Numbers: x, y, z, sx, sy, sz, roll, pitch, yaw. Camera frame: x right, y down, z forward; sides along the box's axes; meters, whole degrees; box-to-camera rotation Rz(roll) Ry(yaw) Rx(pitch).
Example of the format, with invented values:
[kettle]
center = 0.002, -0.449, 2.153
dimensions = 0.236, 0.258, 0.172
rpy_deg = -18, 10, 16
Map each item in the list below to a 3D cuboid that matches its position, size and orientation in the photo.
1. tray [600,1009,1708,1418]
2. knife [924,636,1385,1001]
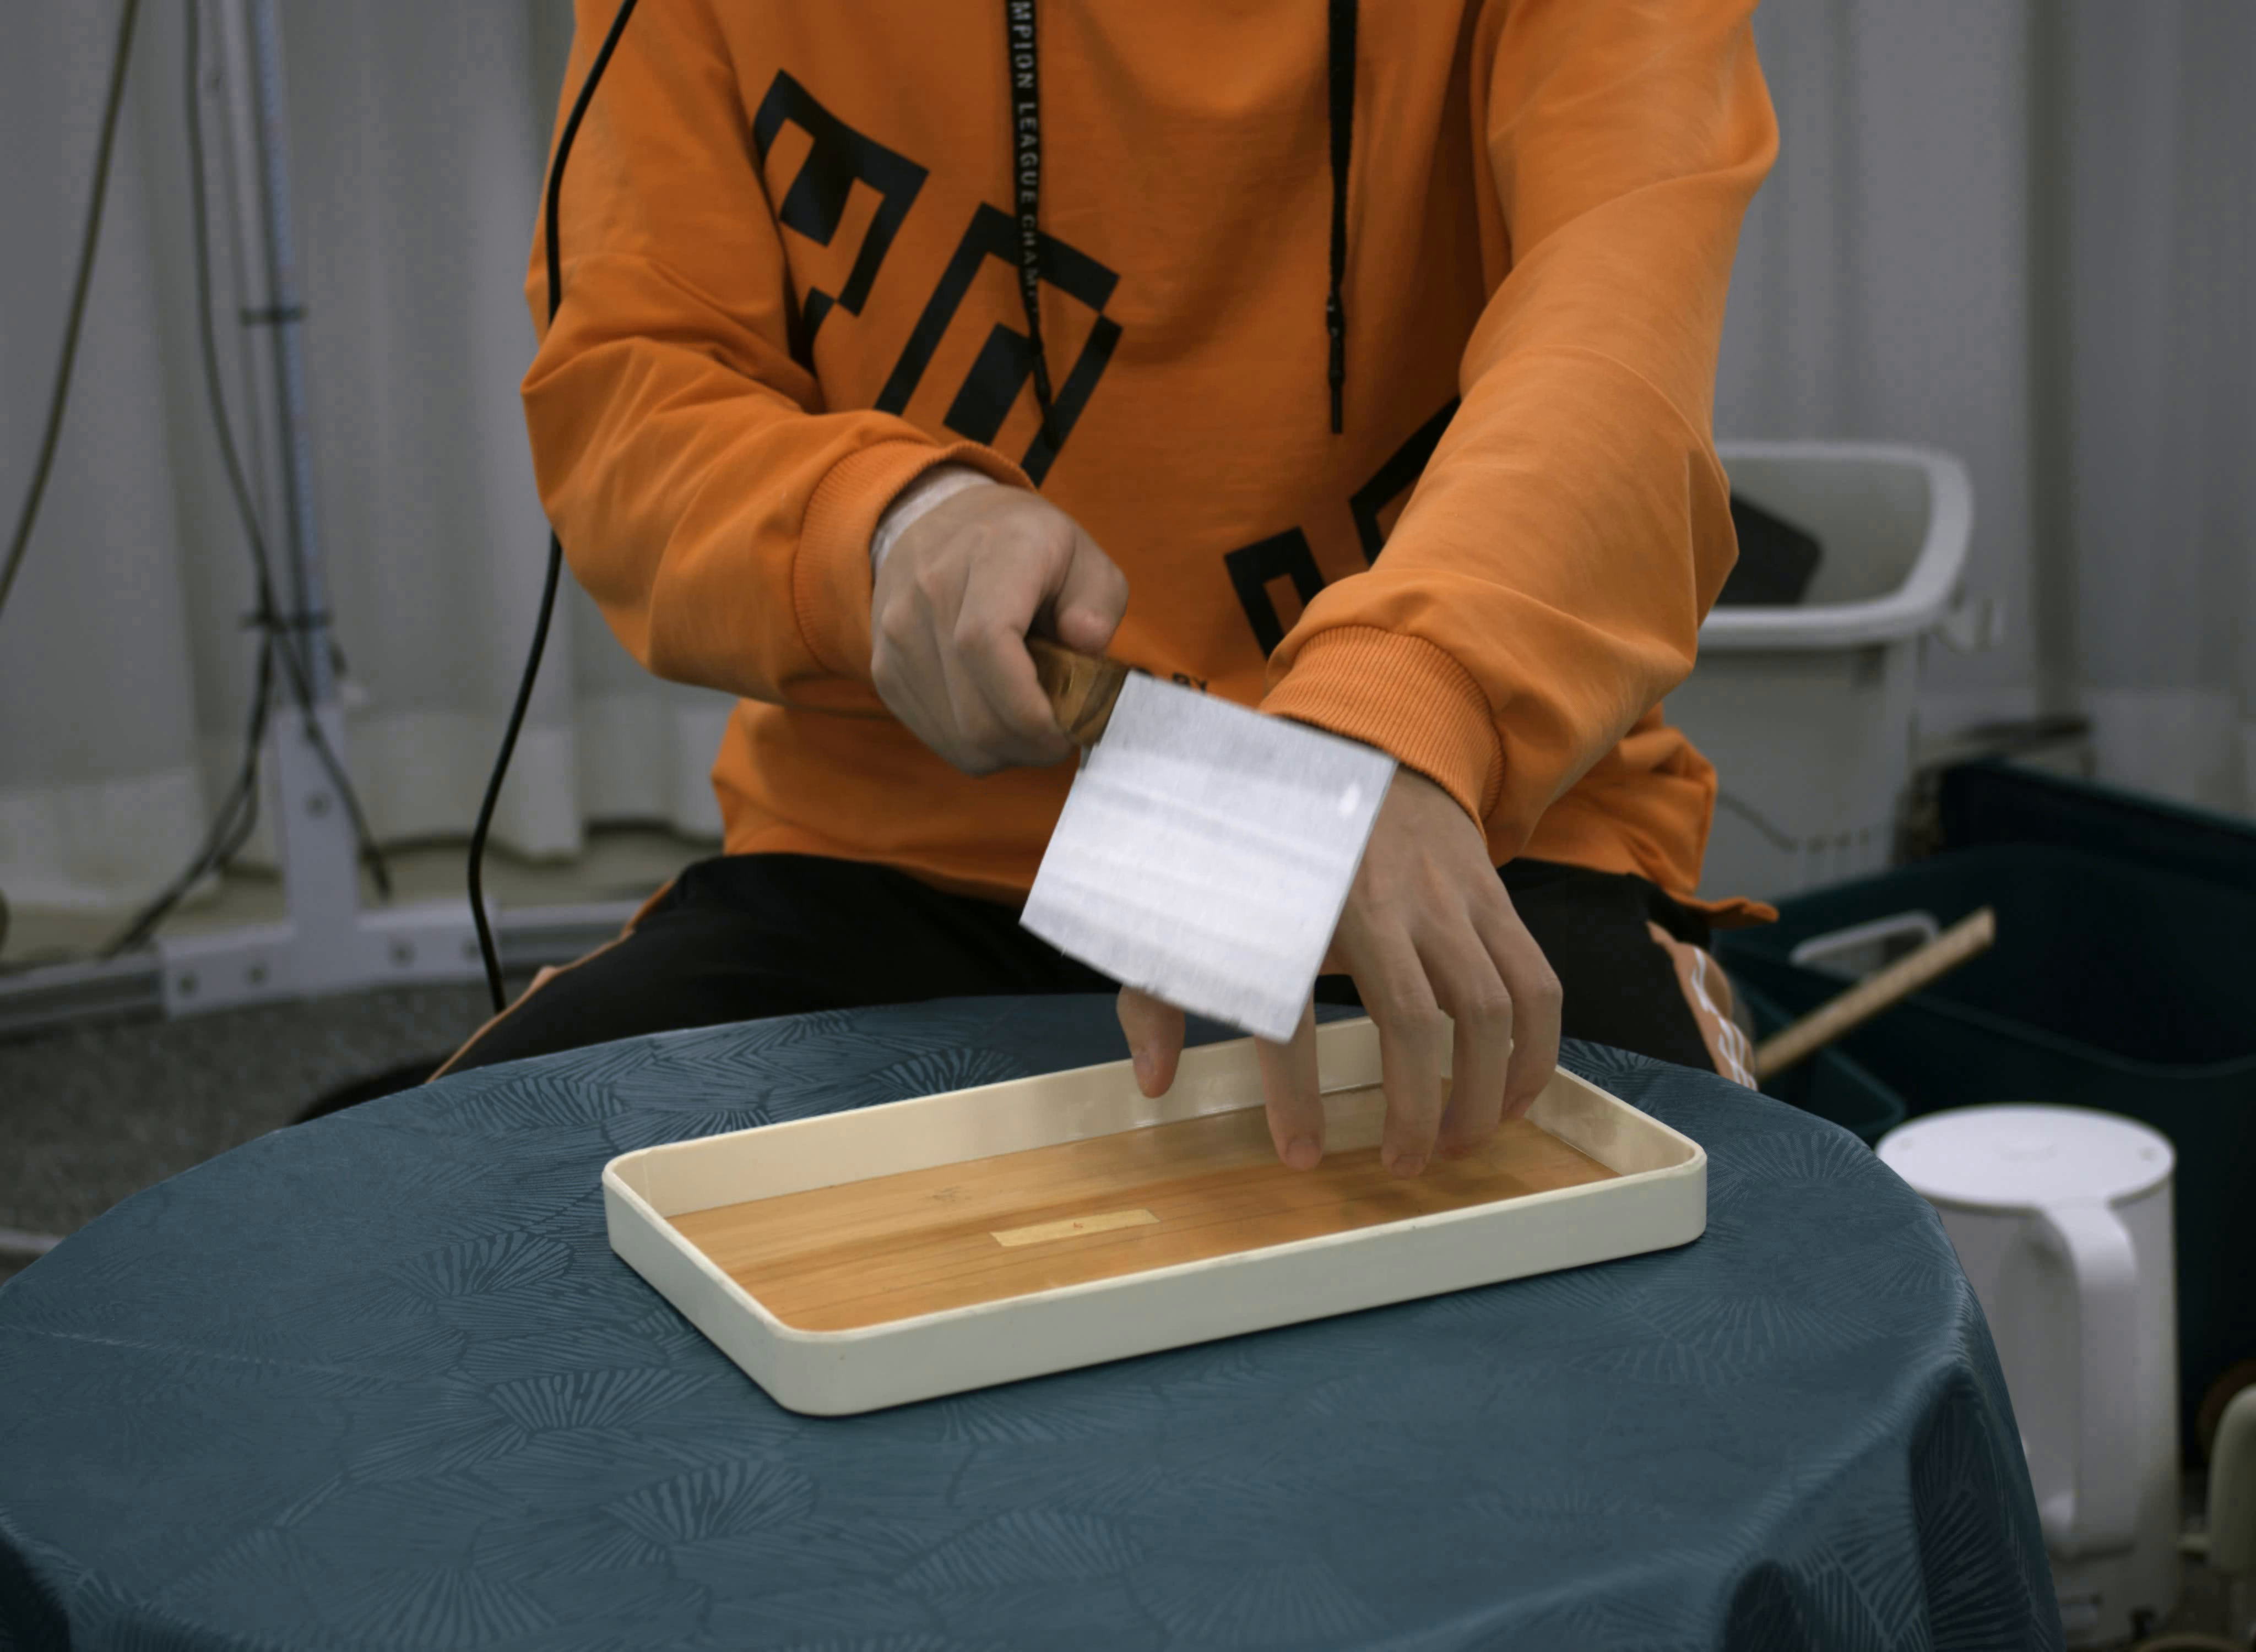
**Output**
[tray]
center = 0.007, 0.114, 1.665
dimensions = 0.299, 0.027, 0.193
rpy_deg = -9, 17, -22
[knife]
center = -0.003, -0.003, 1.725
dimensions = 0.021, 0.093, 0.308
rpy_deg = 21, 0, -27
